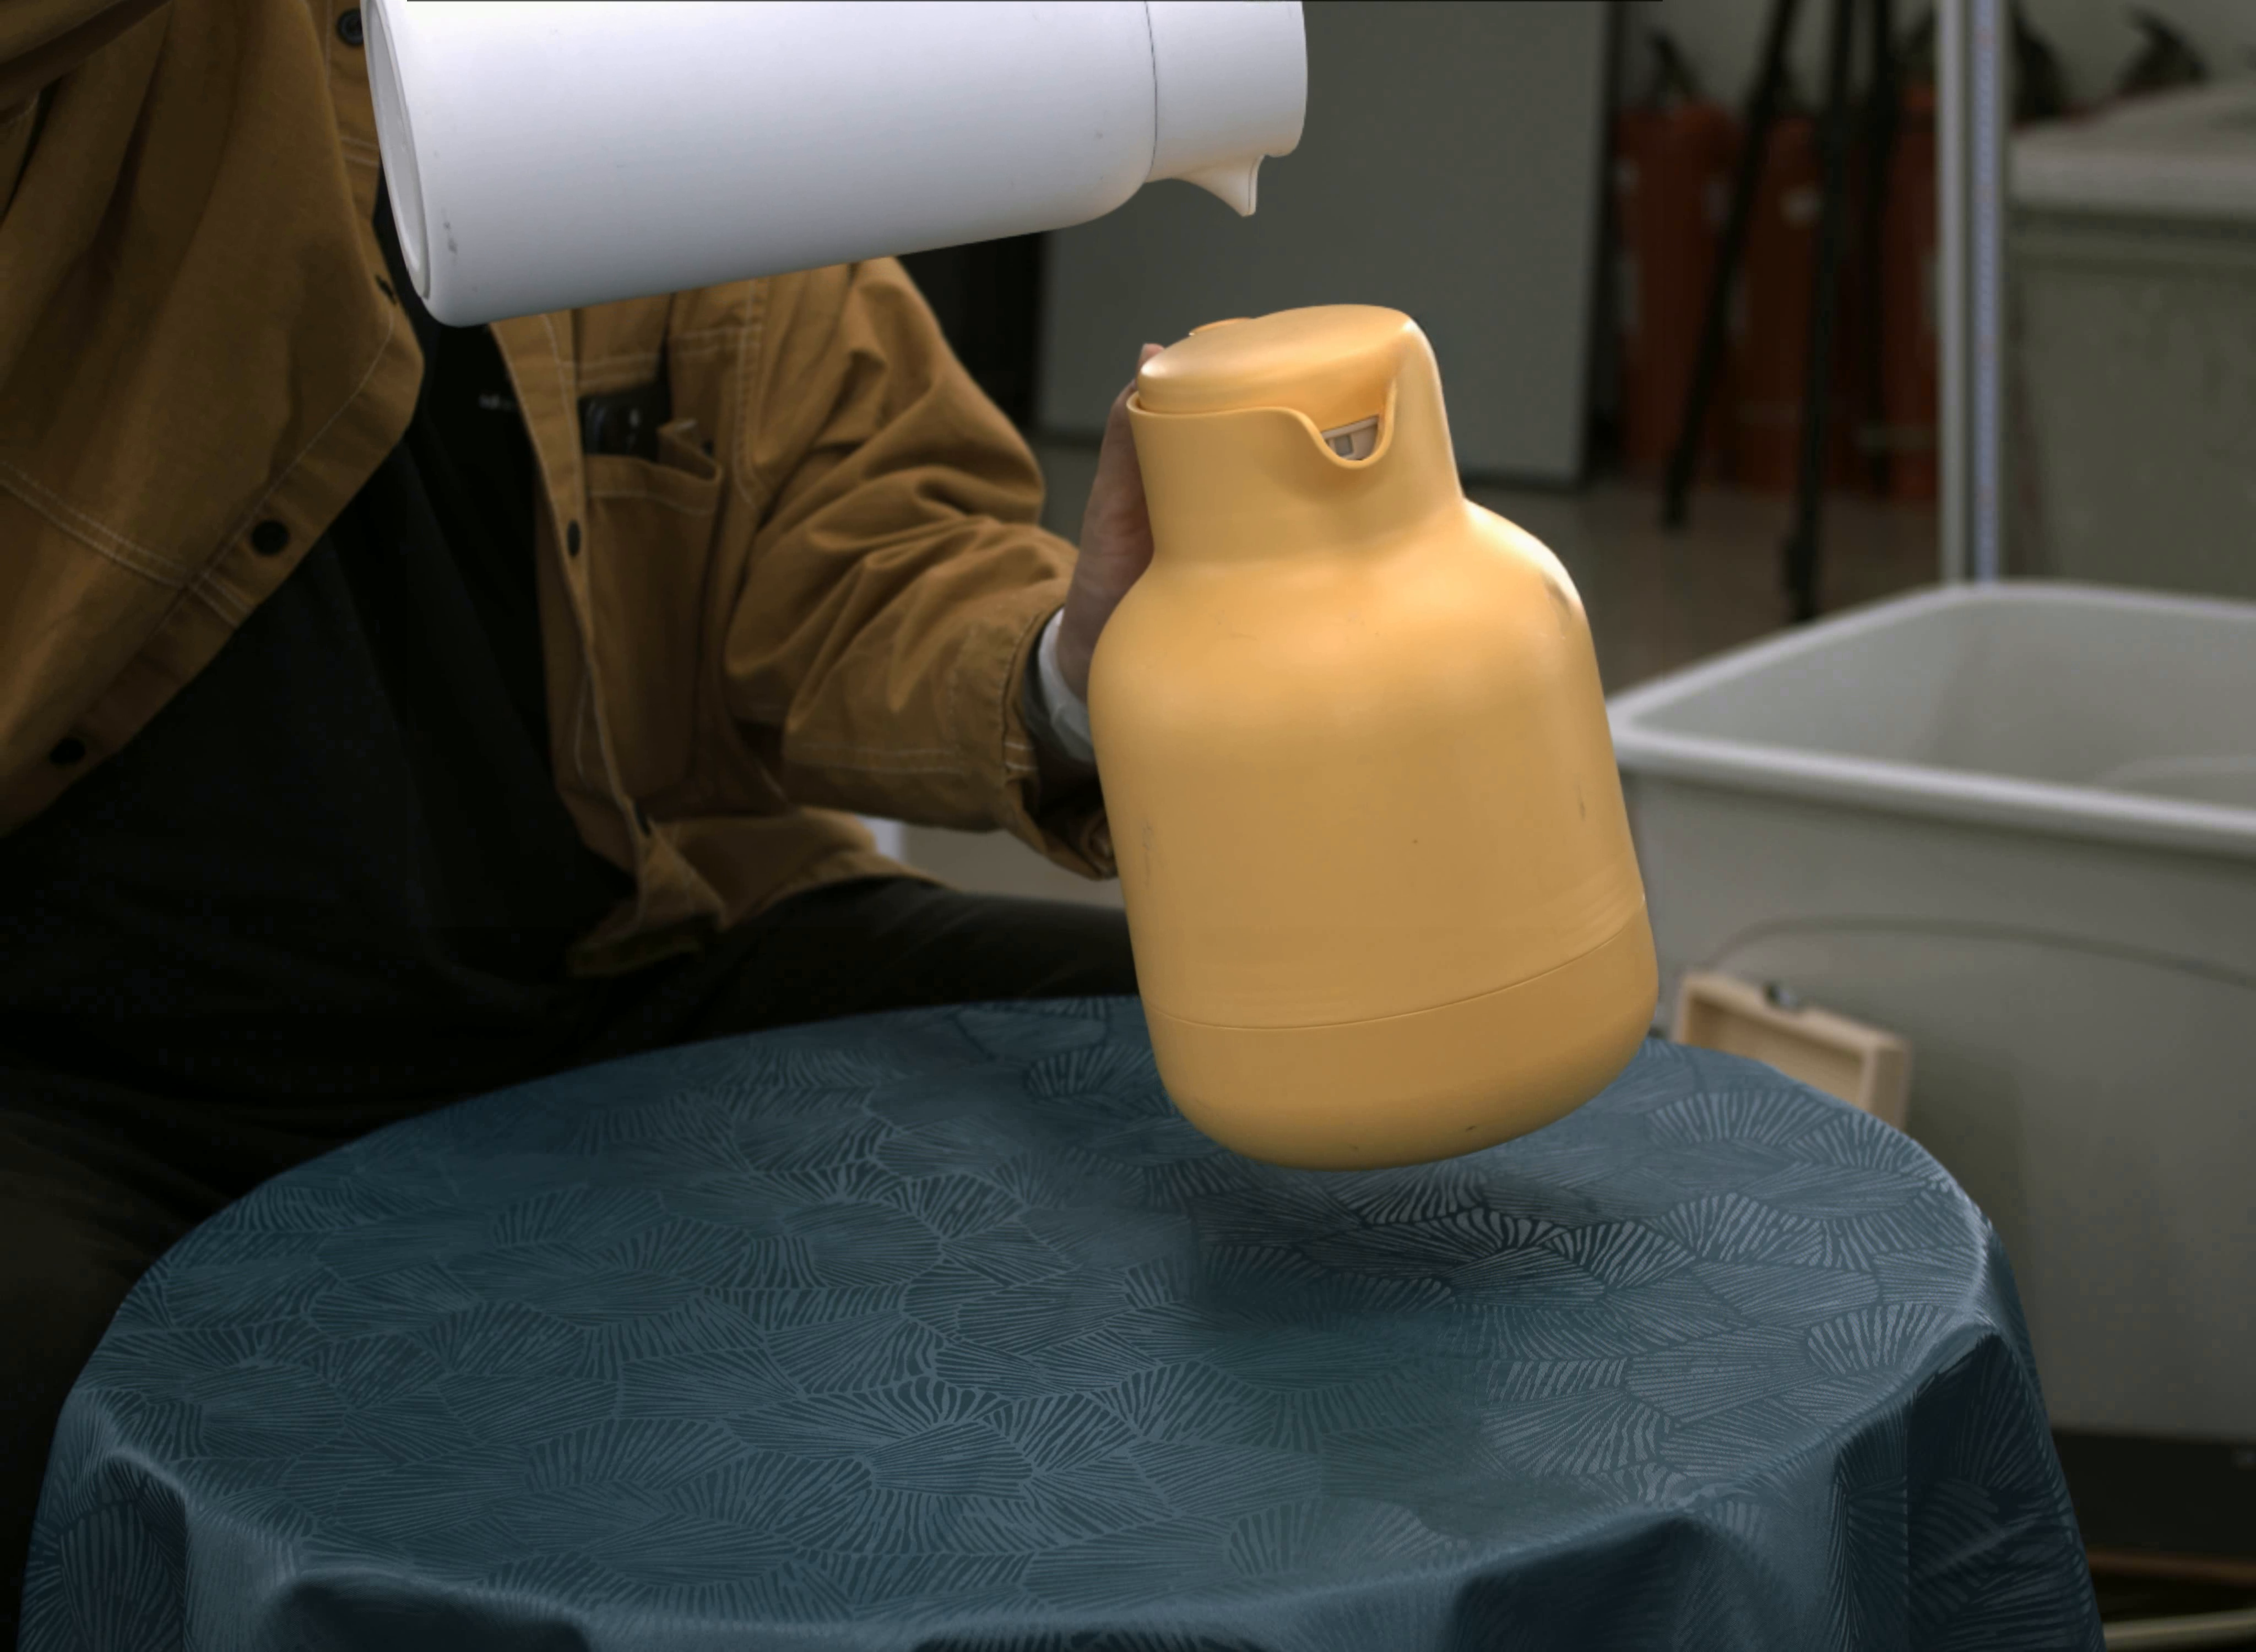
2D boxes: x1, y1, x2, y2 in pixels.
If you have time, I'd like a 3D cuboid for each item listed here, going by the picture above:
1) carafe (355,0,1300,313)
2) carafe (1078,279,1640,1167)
[{"bbox_3d":[-0.089,-0.246,1.582,0.264,0.174,0.125,-11,27,-8],"label":"carafe"},{"bbox_3d":[0.063,-0.040,1.698,0.161,0.263,0.204,-12,16,-9],"label":"carafe"}]
